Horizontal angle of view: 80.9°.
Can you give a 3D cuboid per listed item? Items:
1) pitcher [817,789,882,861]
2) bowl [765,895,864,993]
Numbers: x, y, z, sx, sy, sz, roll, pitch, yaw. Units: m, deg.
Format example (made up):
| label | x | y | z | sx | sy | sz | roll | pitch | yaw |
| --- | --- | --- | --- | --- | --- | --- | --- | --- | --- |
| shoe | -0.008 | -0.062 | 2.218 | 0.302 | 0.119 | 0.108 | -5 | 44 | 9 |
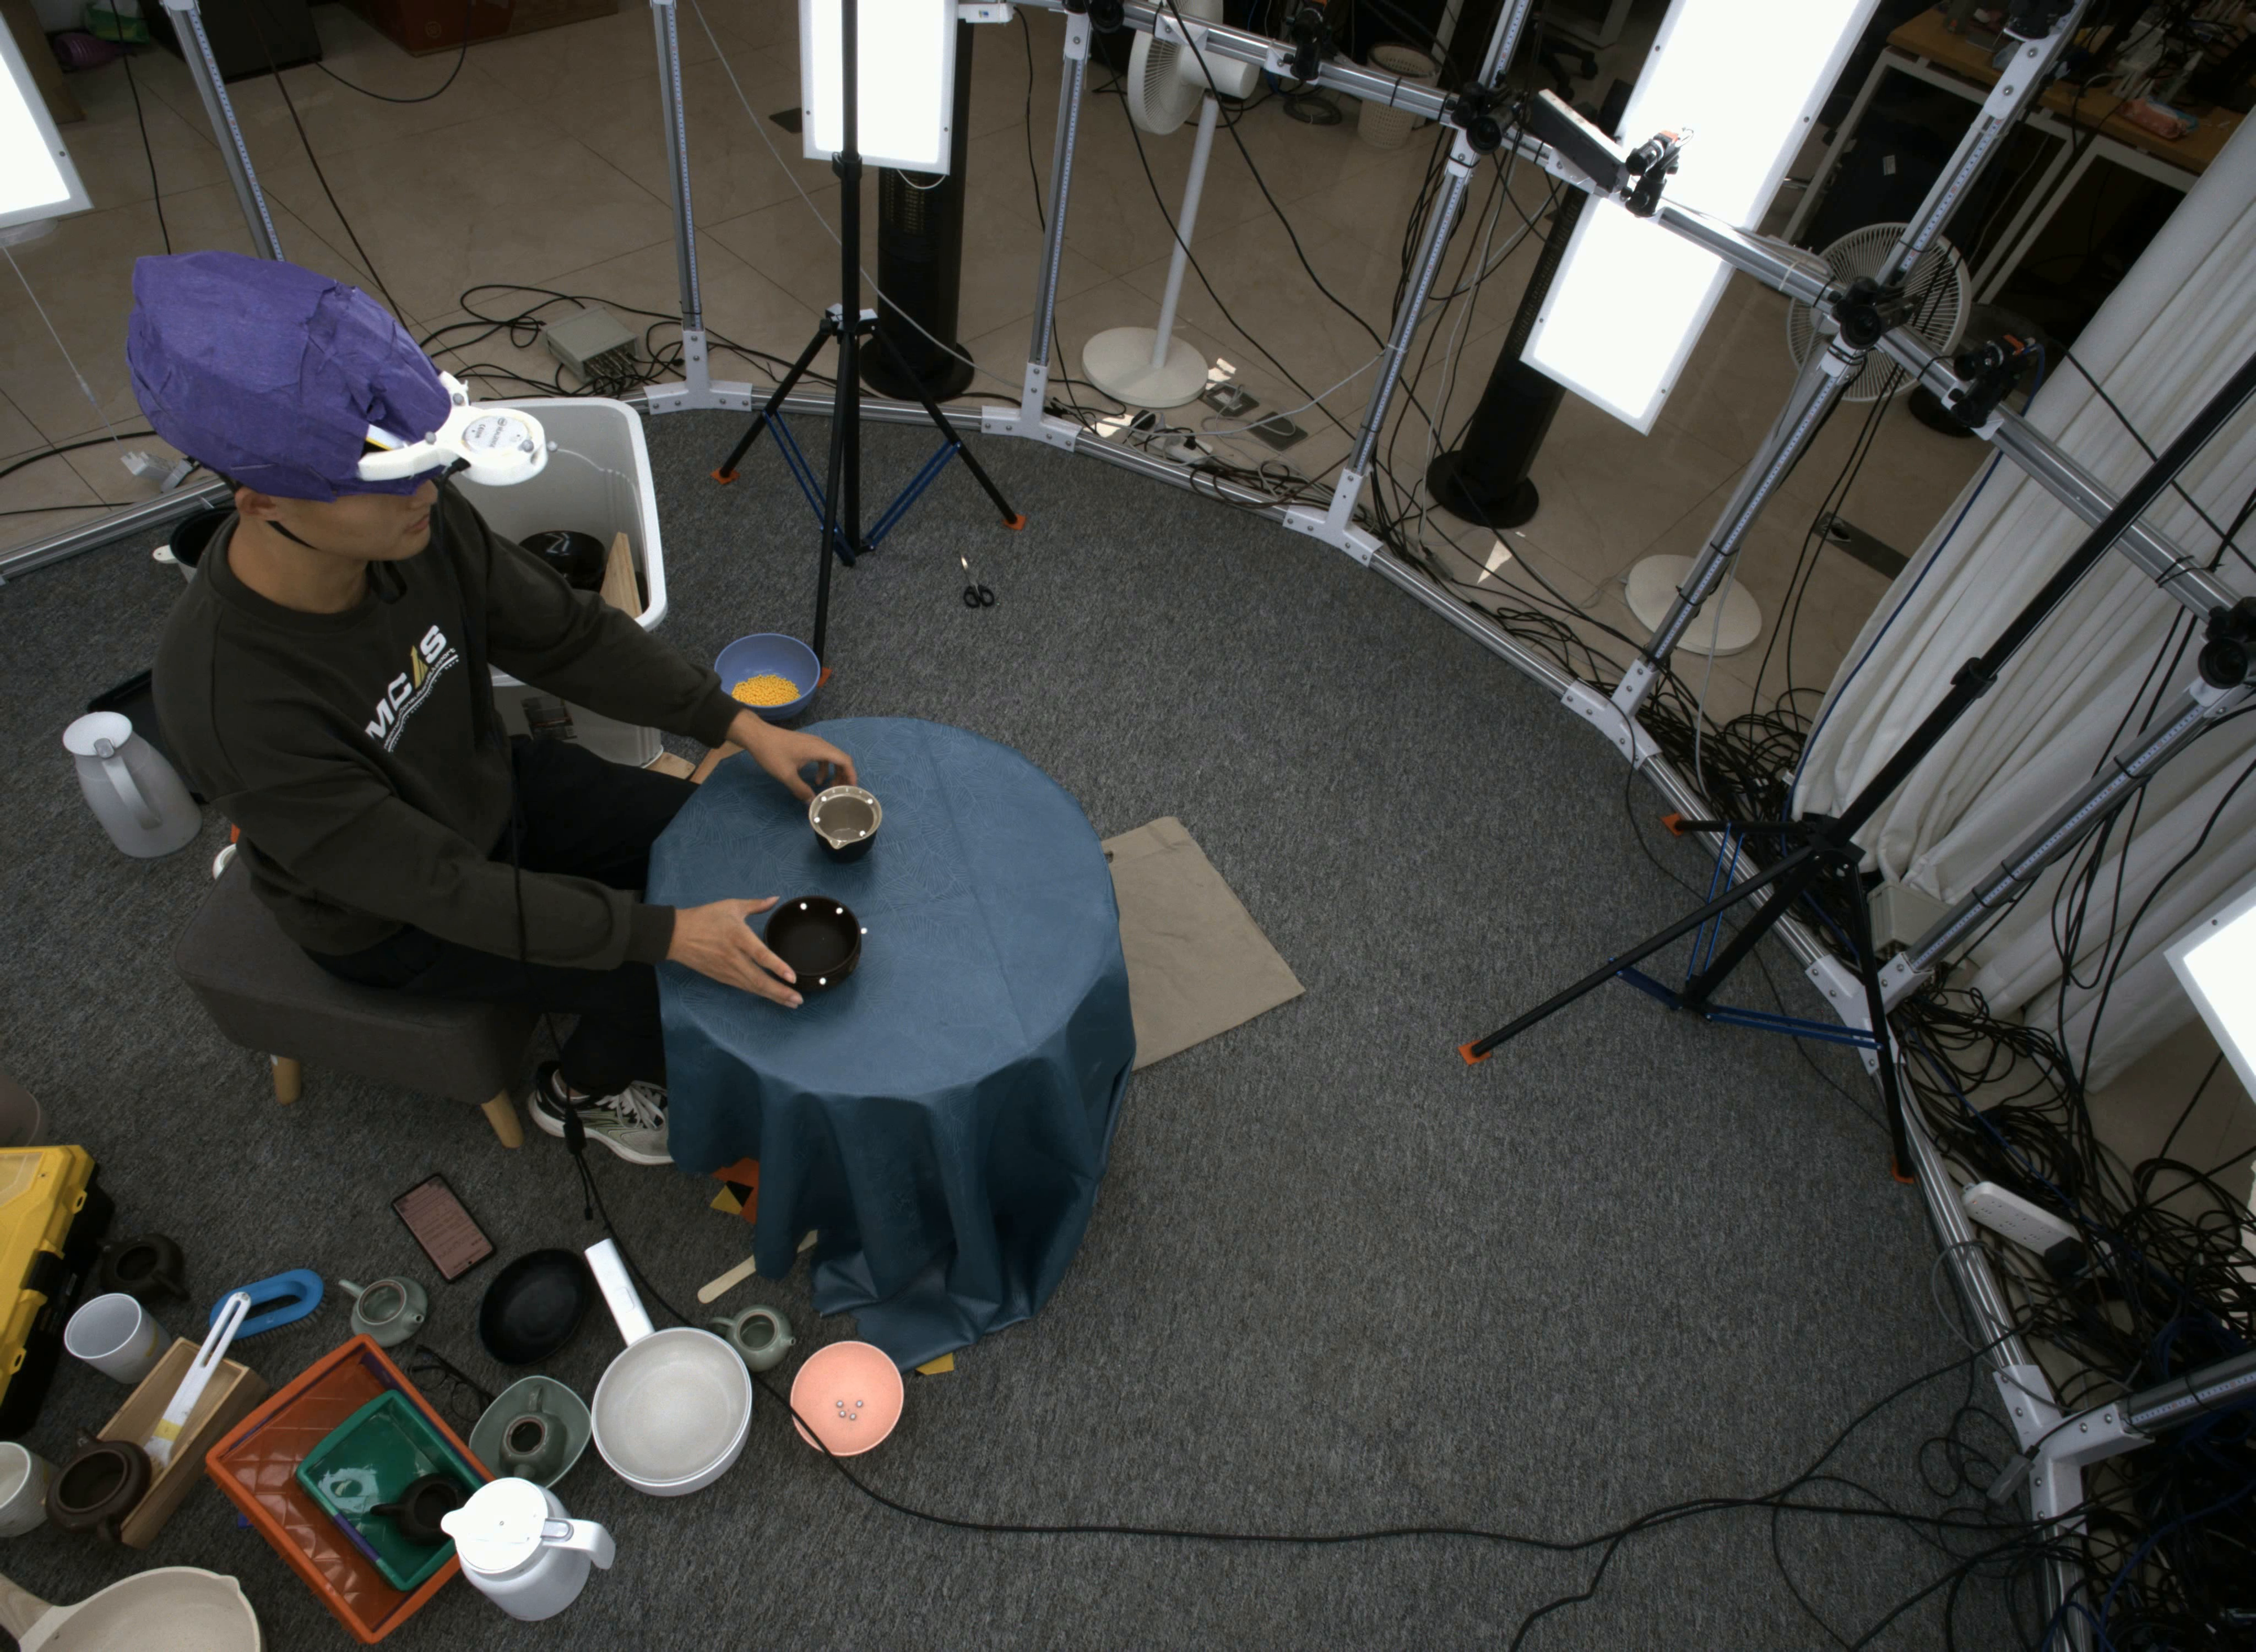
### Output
| label | x | y | z | sx | sy | sz | roll | pitch | yaw |
| --- | --- | --- | --- | --- | --- | --- | --- | --- | --- |
| pitcher | -0.366 | 0.007 | 1.697 | 0.083 | 0.073 | 0.095 | 15 | 52 | -3 |
| bowl | -0.382 | 0.150 | 1.586 | 0.117 | 0.071 | 0.116 | 6 | 52 | -6 |
